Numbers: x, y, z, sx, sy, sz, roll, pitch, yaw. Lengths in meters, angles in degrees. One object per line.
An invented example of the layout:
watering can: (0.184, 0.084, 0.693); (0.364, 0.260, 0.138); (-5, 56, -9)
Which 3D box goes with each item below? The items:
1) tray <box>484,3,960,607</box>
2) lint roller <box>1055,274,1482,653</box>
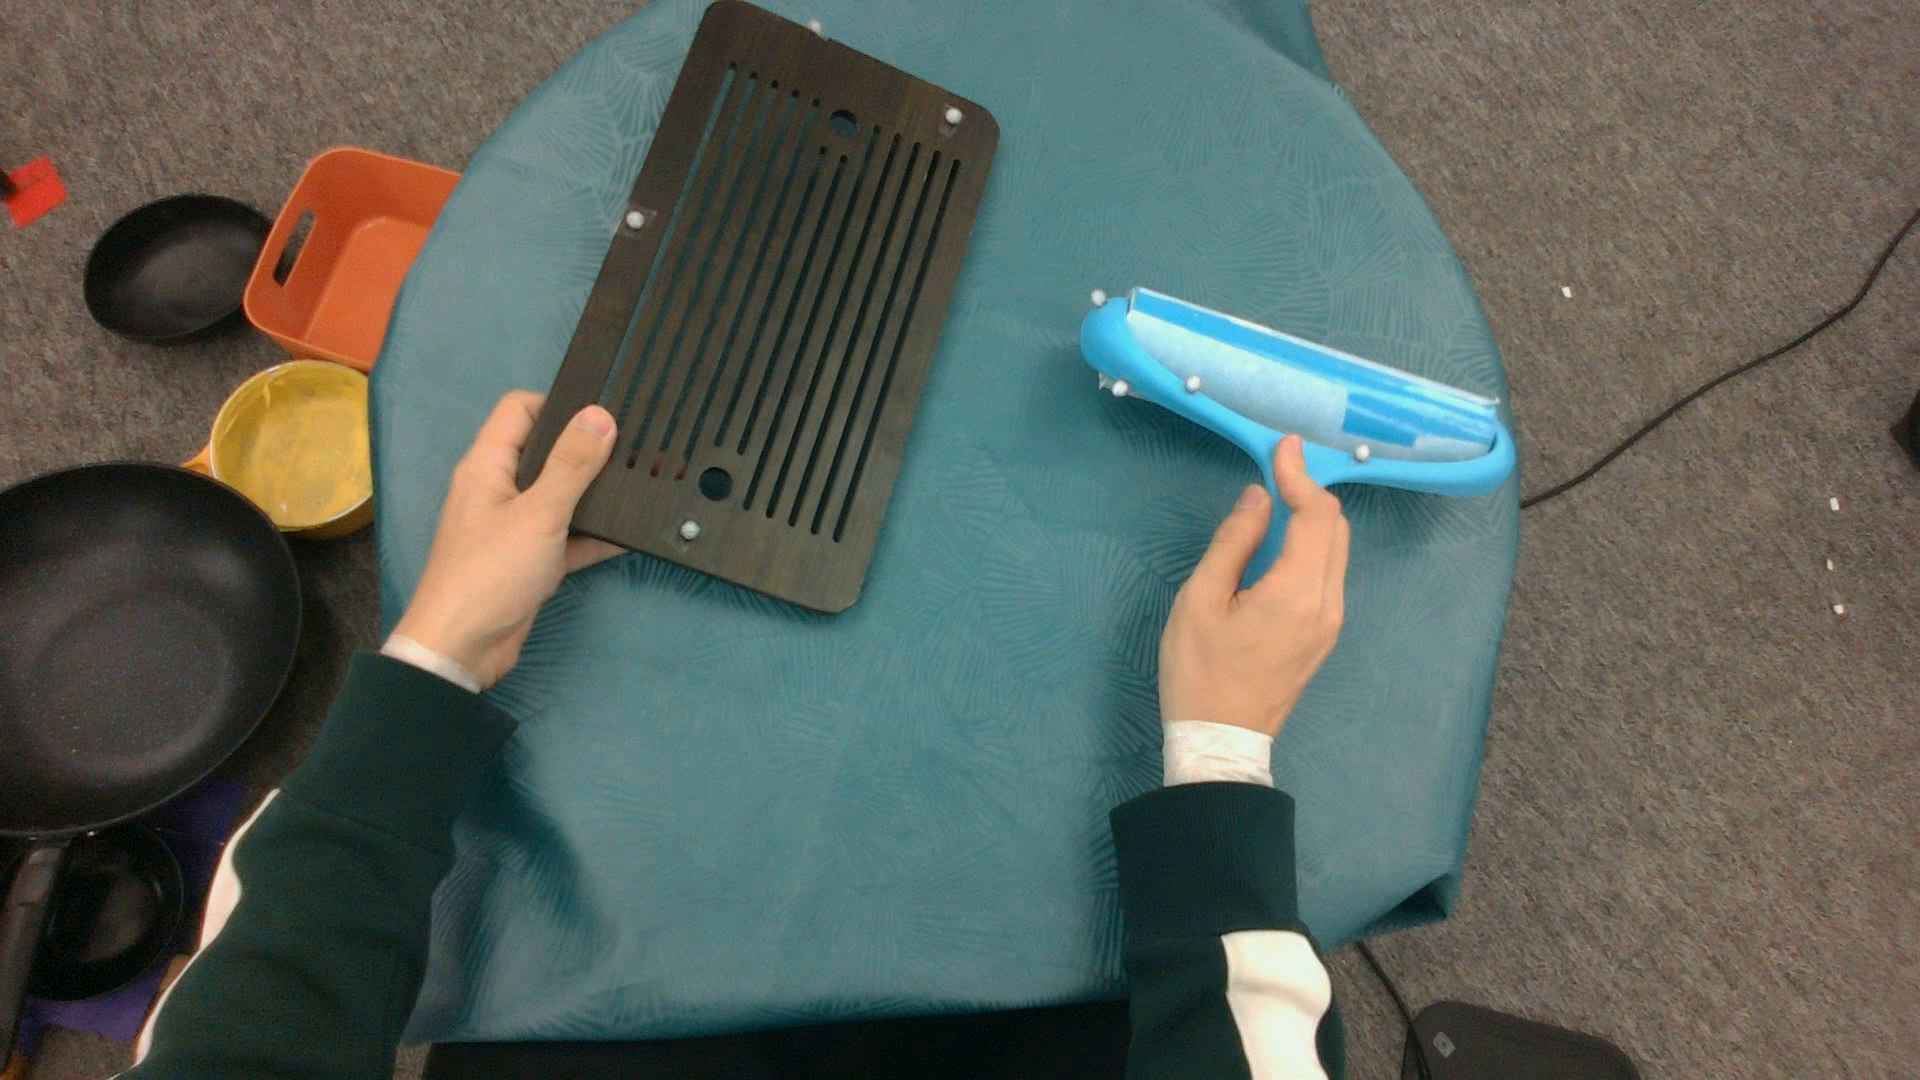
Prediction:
tray: (-0.112, -0.127, 0.708); (0.170, 0.018, 0.307); (18, 69, -11)
lint roller: (0.149, -0.035, 0.690); (0.229, 0.067, 0.181); (15, 63, -5)
